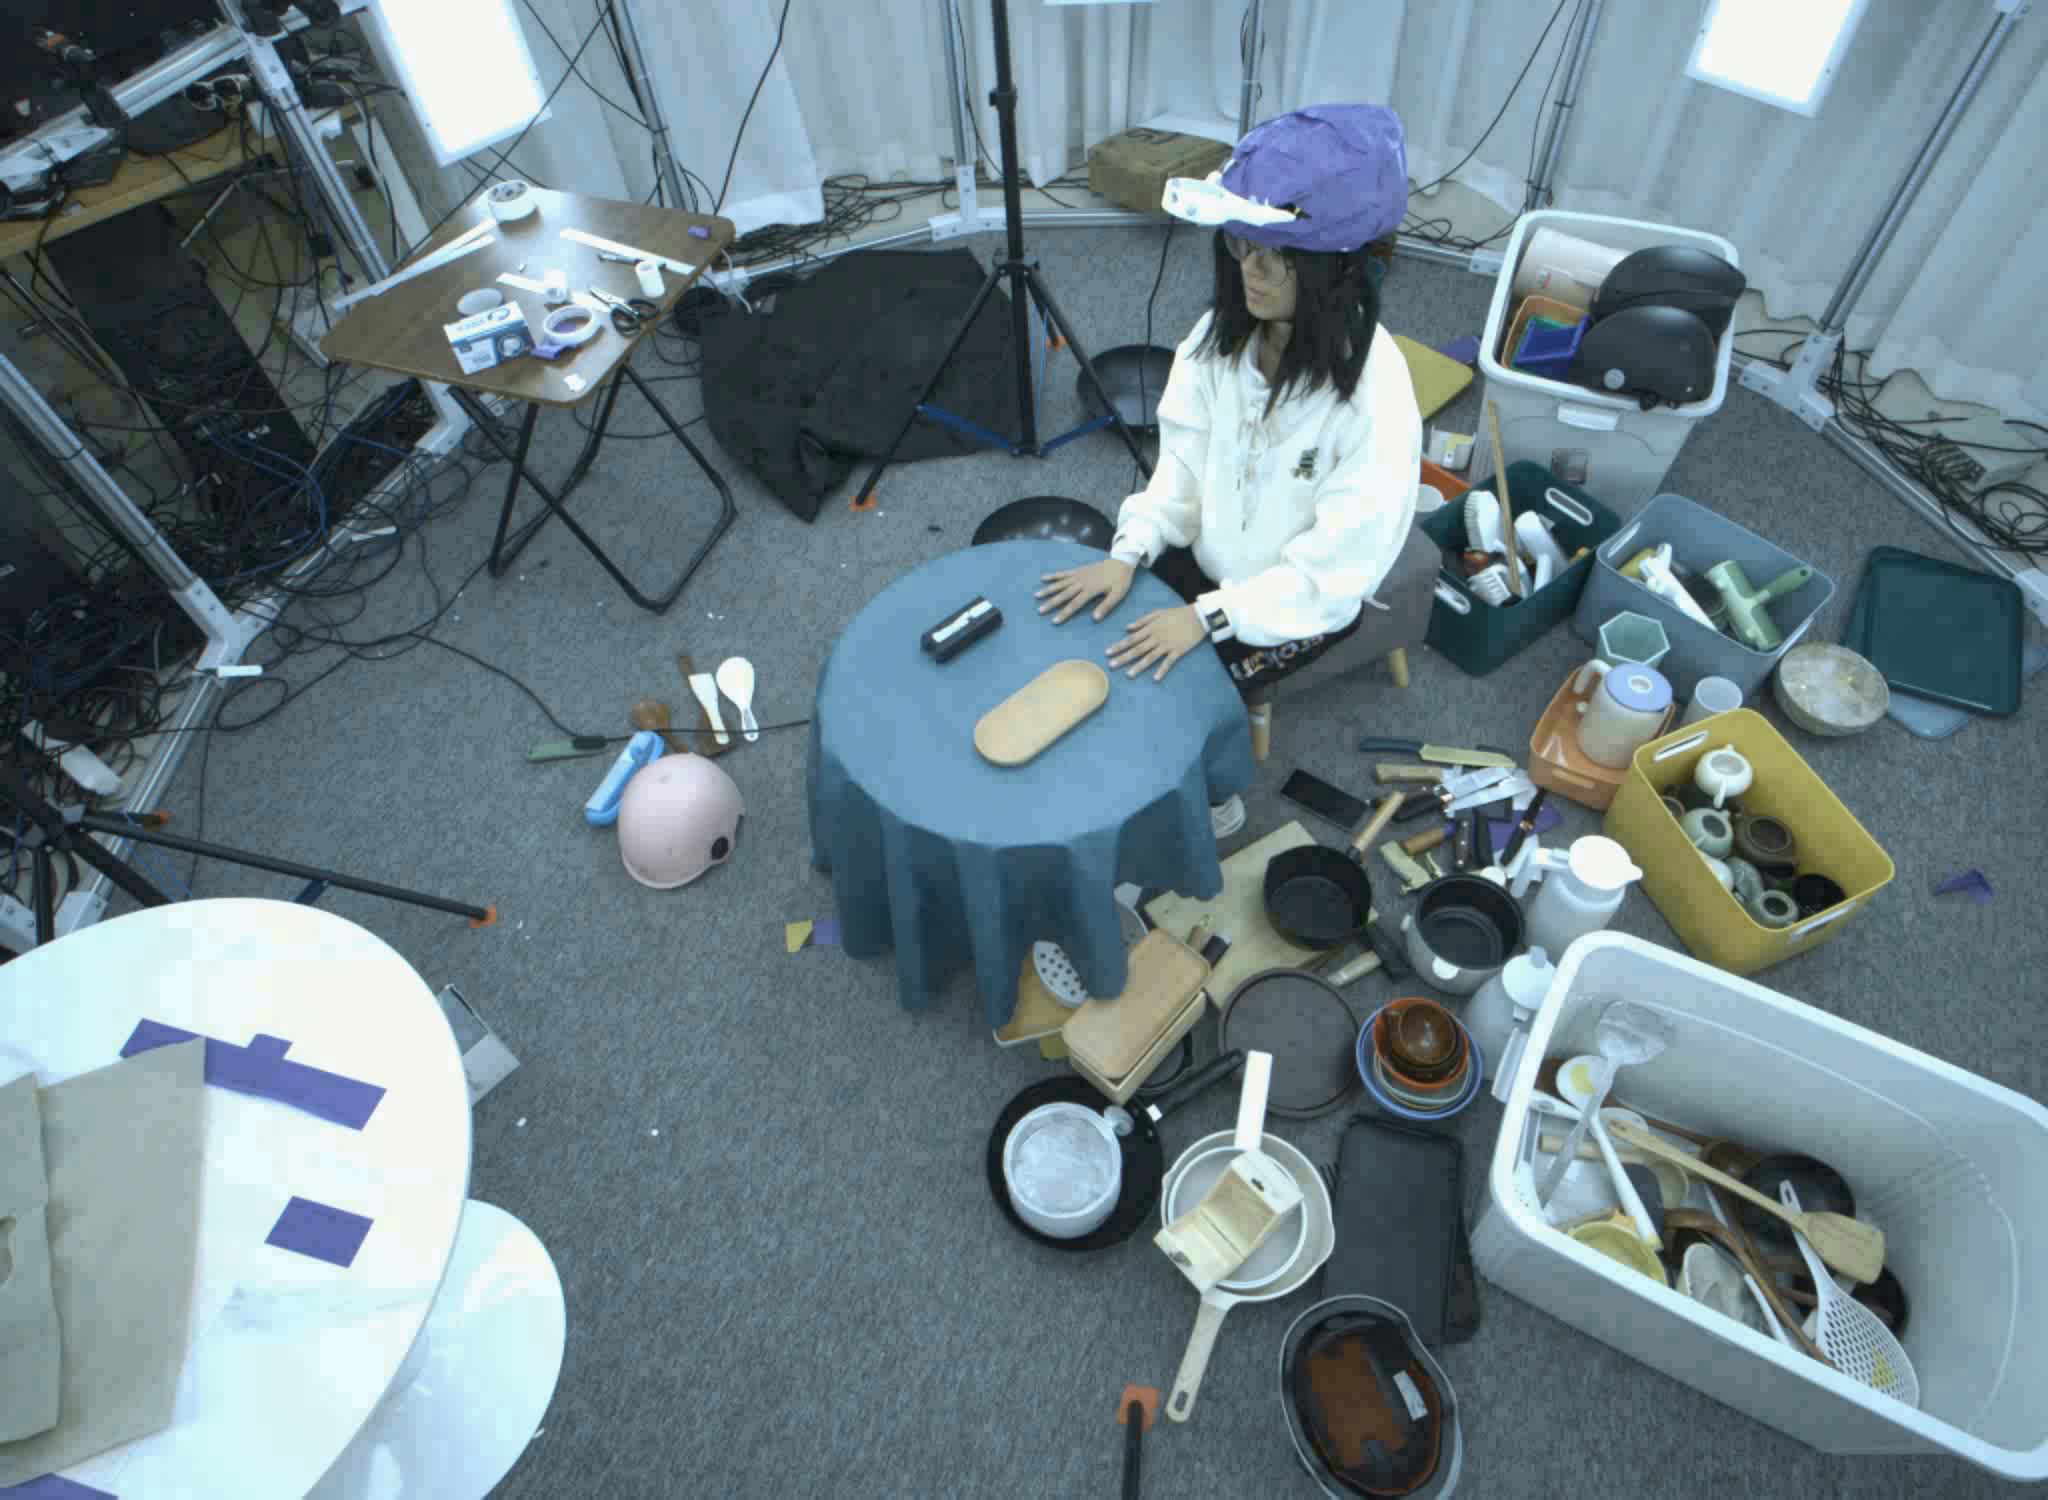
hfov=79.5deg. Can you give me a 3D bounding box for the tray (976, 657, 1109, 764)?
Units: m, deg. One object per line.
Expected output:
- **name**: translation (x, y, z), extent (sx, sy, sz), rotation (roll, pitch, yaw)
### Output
- **tray**: translation (0.029, -0.060, 1.820), extent (0.233, 0.020, 0.100), rotation (-38, 62, -24)

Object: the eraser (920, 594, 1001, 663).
- **eraser**: translation (-0.099, -0.189, 1.907), extent (0.126, 0.031, 0.053), rotation (-38, 67, -21)
